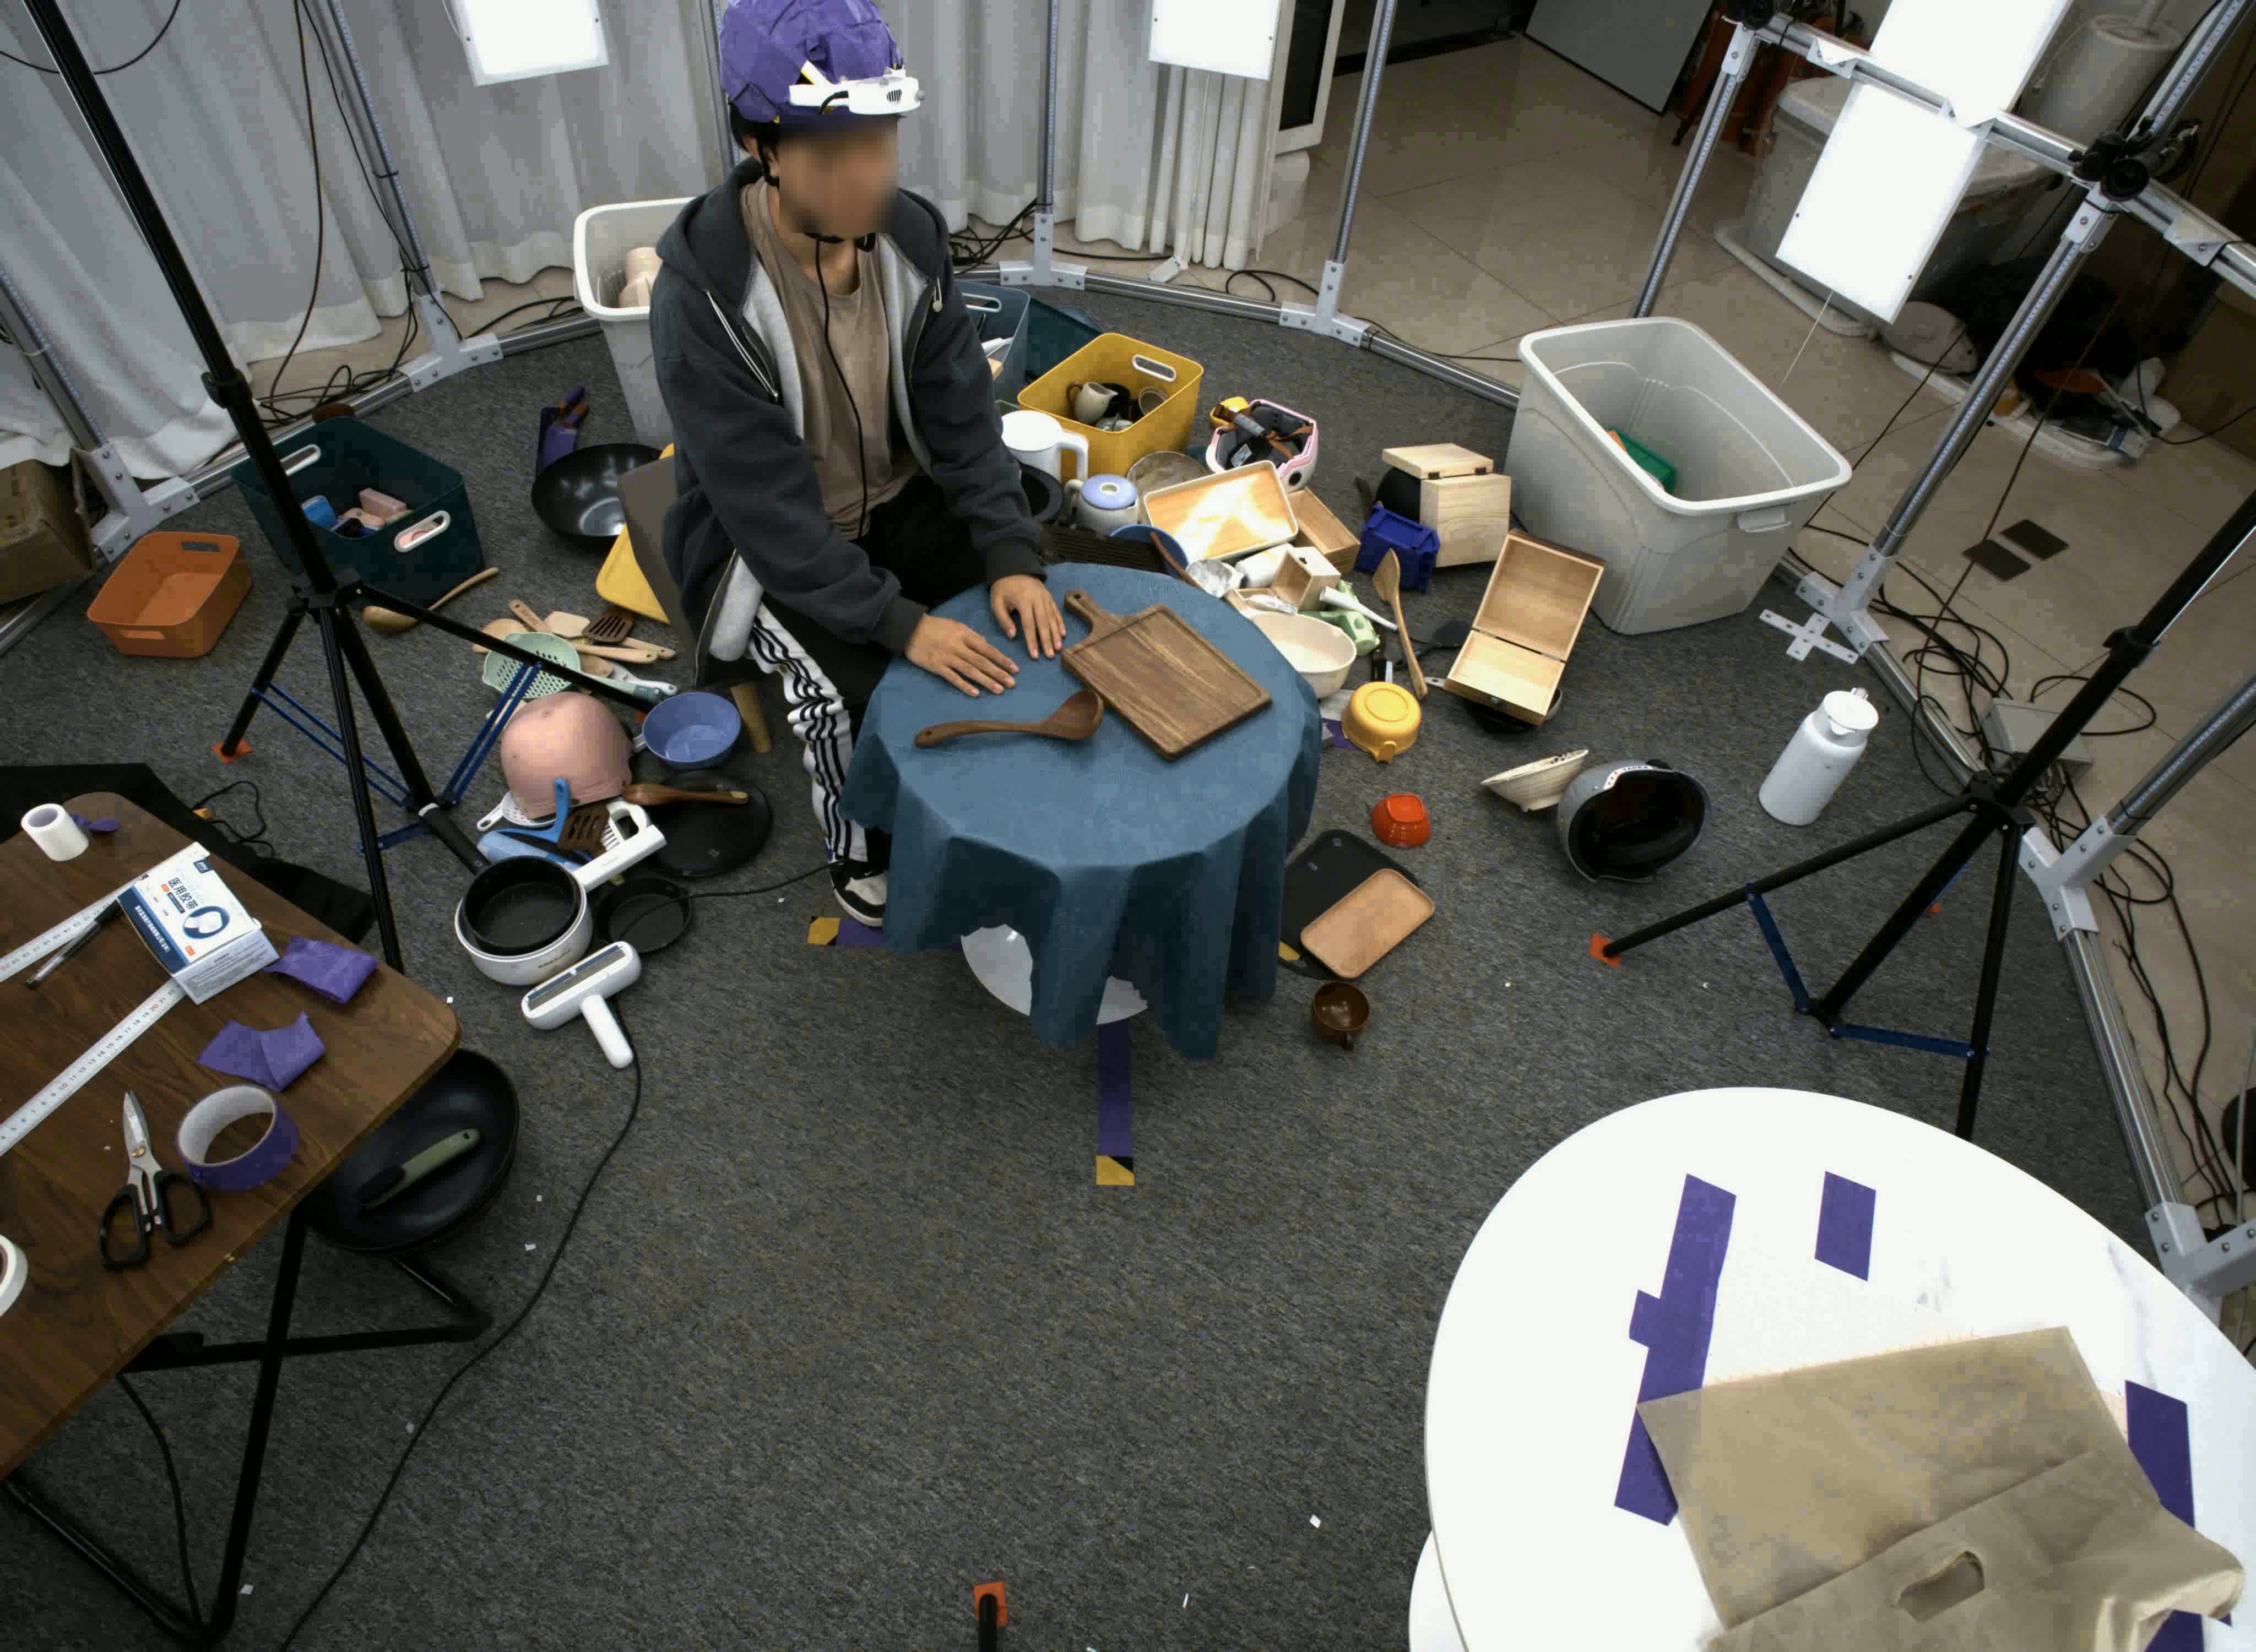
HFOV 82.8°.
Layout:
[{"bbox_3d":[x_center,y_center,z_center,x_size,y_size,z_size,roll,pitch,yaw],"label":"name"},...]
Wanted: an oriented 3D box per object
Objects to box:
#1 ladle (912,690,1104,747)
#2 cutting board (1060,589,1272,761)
[{"bbox_3d":[-0.162,-0.143,1.737,0.260,0.063,0.078,-4,45,-7],"label":"ladle"},{"bbox_3d":[0.023,-0.243,1.864,0.202,0.022,0.358,-29,57,-27],"label":"cutting board"}]
